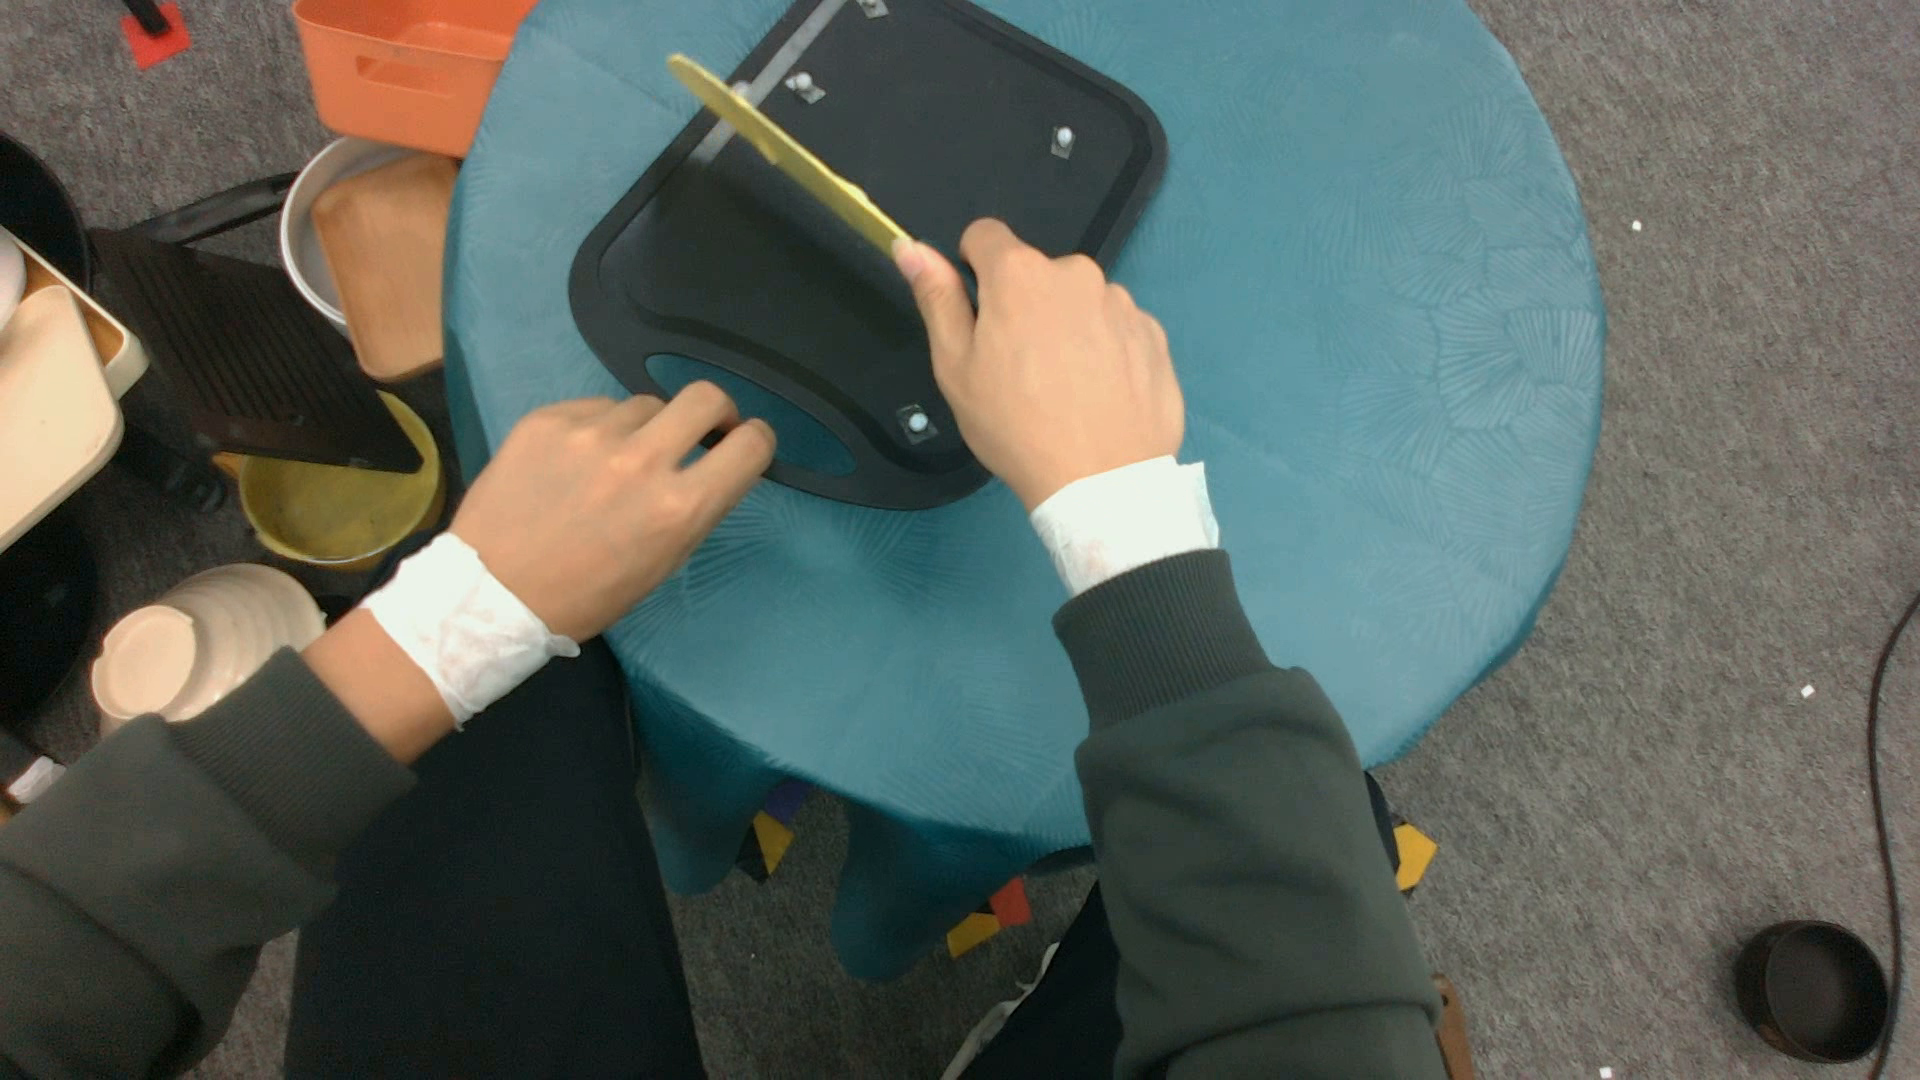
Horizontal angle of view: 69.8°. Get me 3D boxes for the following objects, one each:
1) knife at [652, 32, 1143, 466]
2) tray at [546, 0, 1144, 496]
[{"bbox_3d":[-0.033,-0.130,0.595,0.289,0.081,0.027,43,92,10],"label":"knife"},{"bbox_3d":[-0.043,-0.163,0.660,0.211,0.010,0.327,28,57,0],"label":"tray"}]
